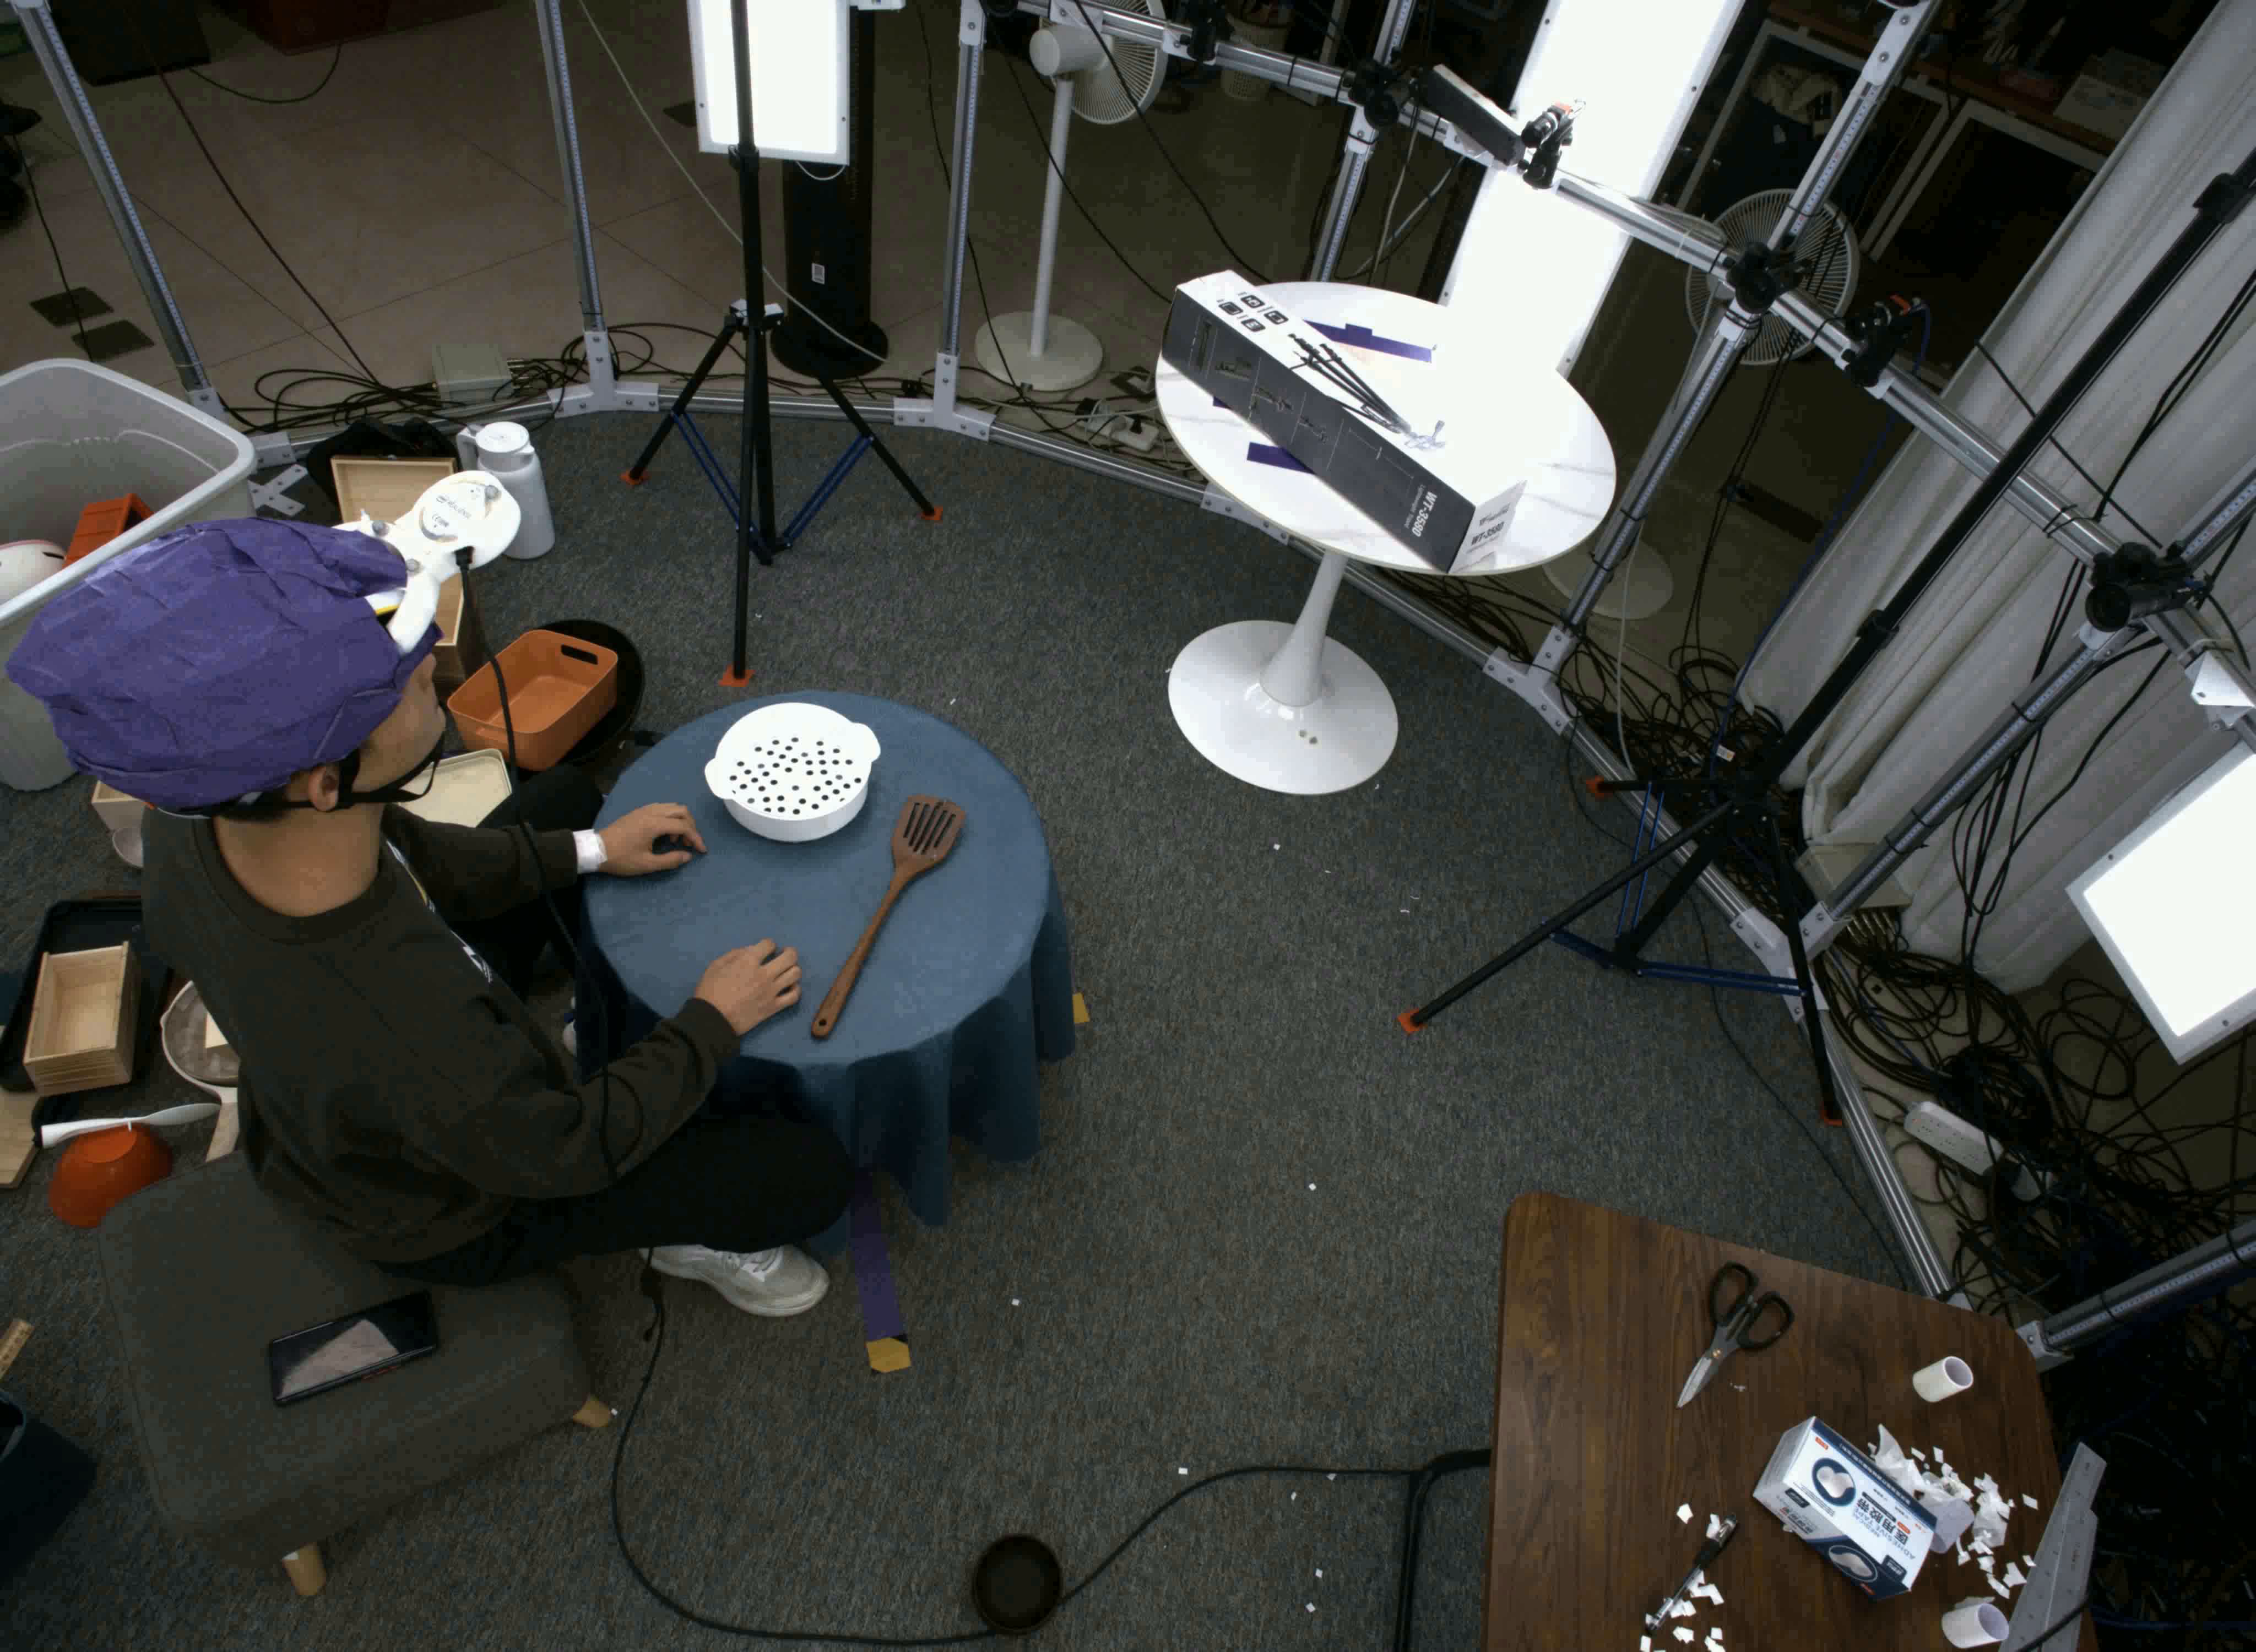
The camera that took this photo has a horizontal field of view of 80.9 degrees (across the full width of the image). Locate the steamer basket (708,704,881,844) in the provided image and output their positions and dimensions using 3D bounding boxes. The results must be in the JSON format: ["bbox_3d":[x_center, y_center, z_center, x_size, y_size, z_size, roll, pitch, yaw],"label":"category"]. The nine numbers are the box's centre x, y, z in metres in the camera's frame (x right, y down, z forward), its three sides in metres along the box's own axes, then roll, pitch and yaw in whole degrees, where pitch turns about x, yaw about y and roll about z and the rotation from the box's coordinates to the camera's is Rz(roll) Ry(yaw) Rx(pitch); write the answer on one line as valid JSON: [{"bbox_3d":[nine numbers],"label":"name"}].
[{"bbox_3d":[-0.443,-0.070,1.742,0.231,0.071,0.196,-20,58,-22],"label":"steamer basket"}]

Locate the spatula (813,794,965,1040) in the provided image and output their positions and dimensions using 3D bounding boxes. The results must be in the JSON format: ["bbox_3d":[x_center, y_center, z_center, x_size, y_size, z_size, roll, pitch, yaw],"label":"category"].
[{"bbox_3d":[-0.314,0.110,1.669,0.085,0.024,0.381,19,53,3],"label":"spatula"}]
